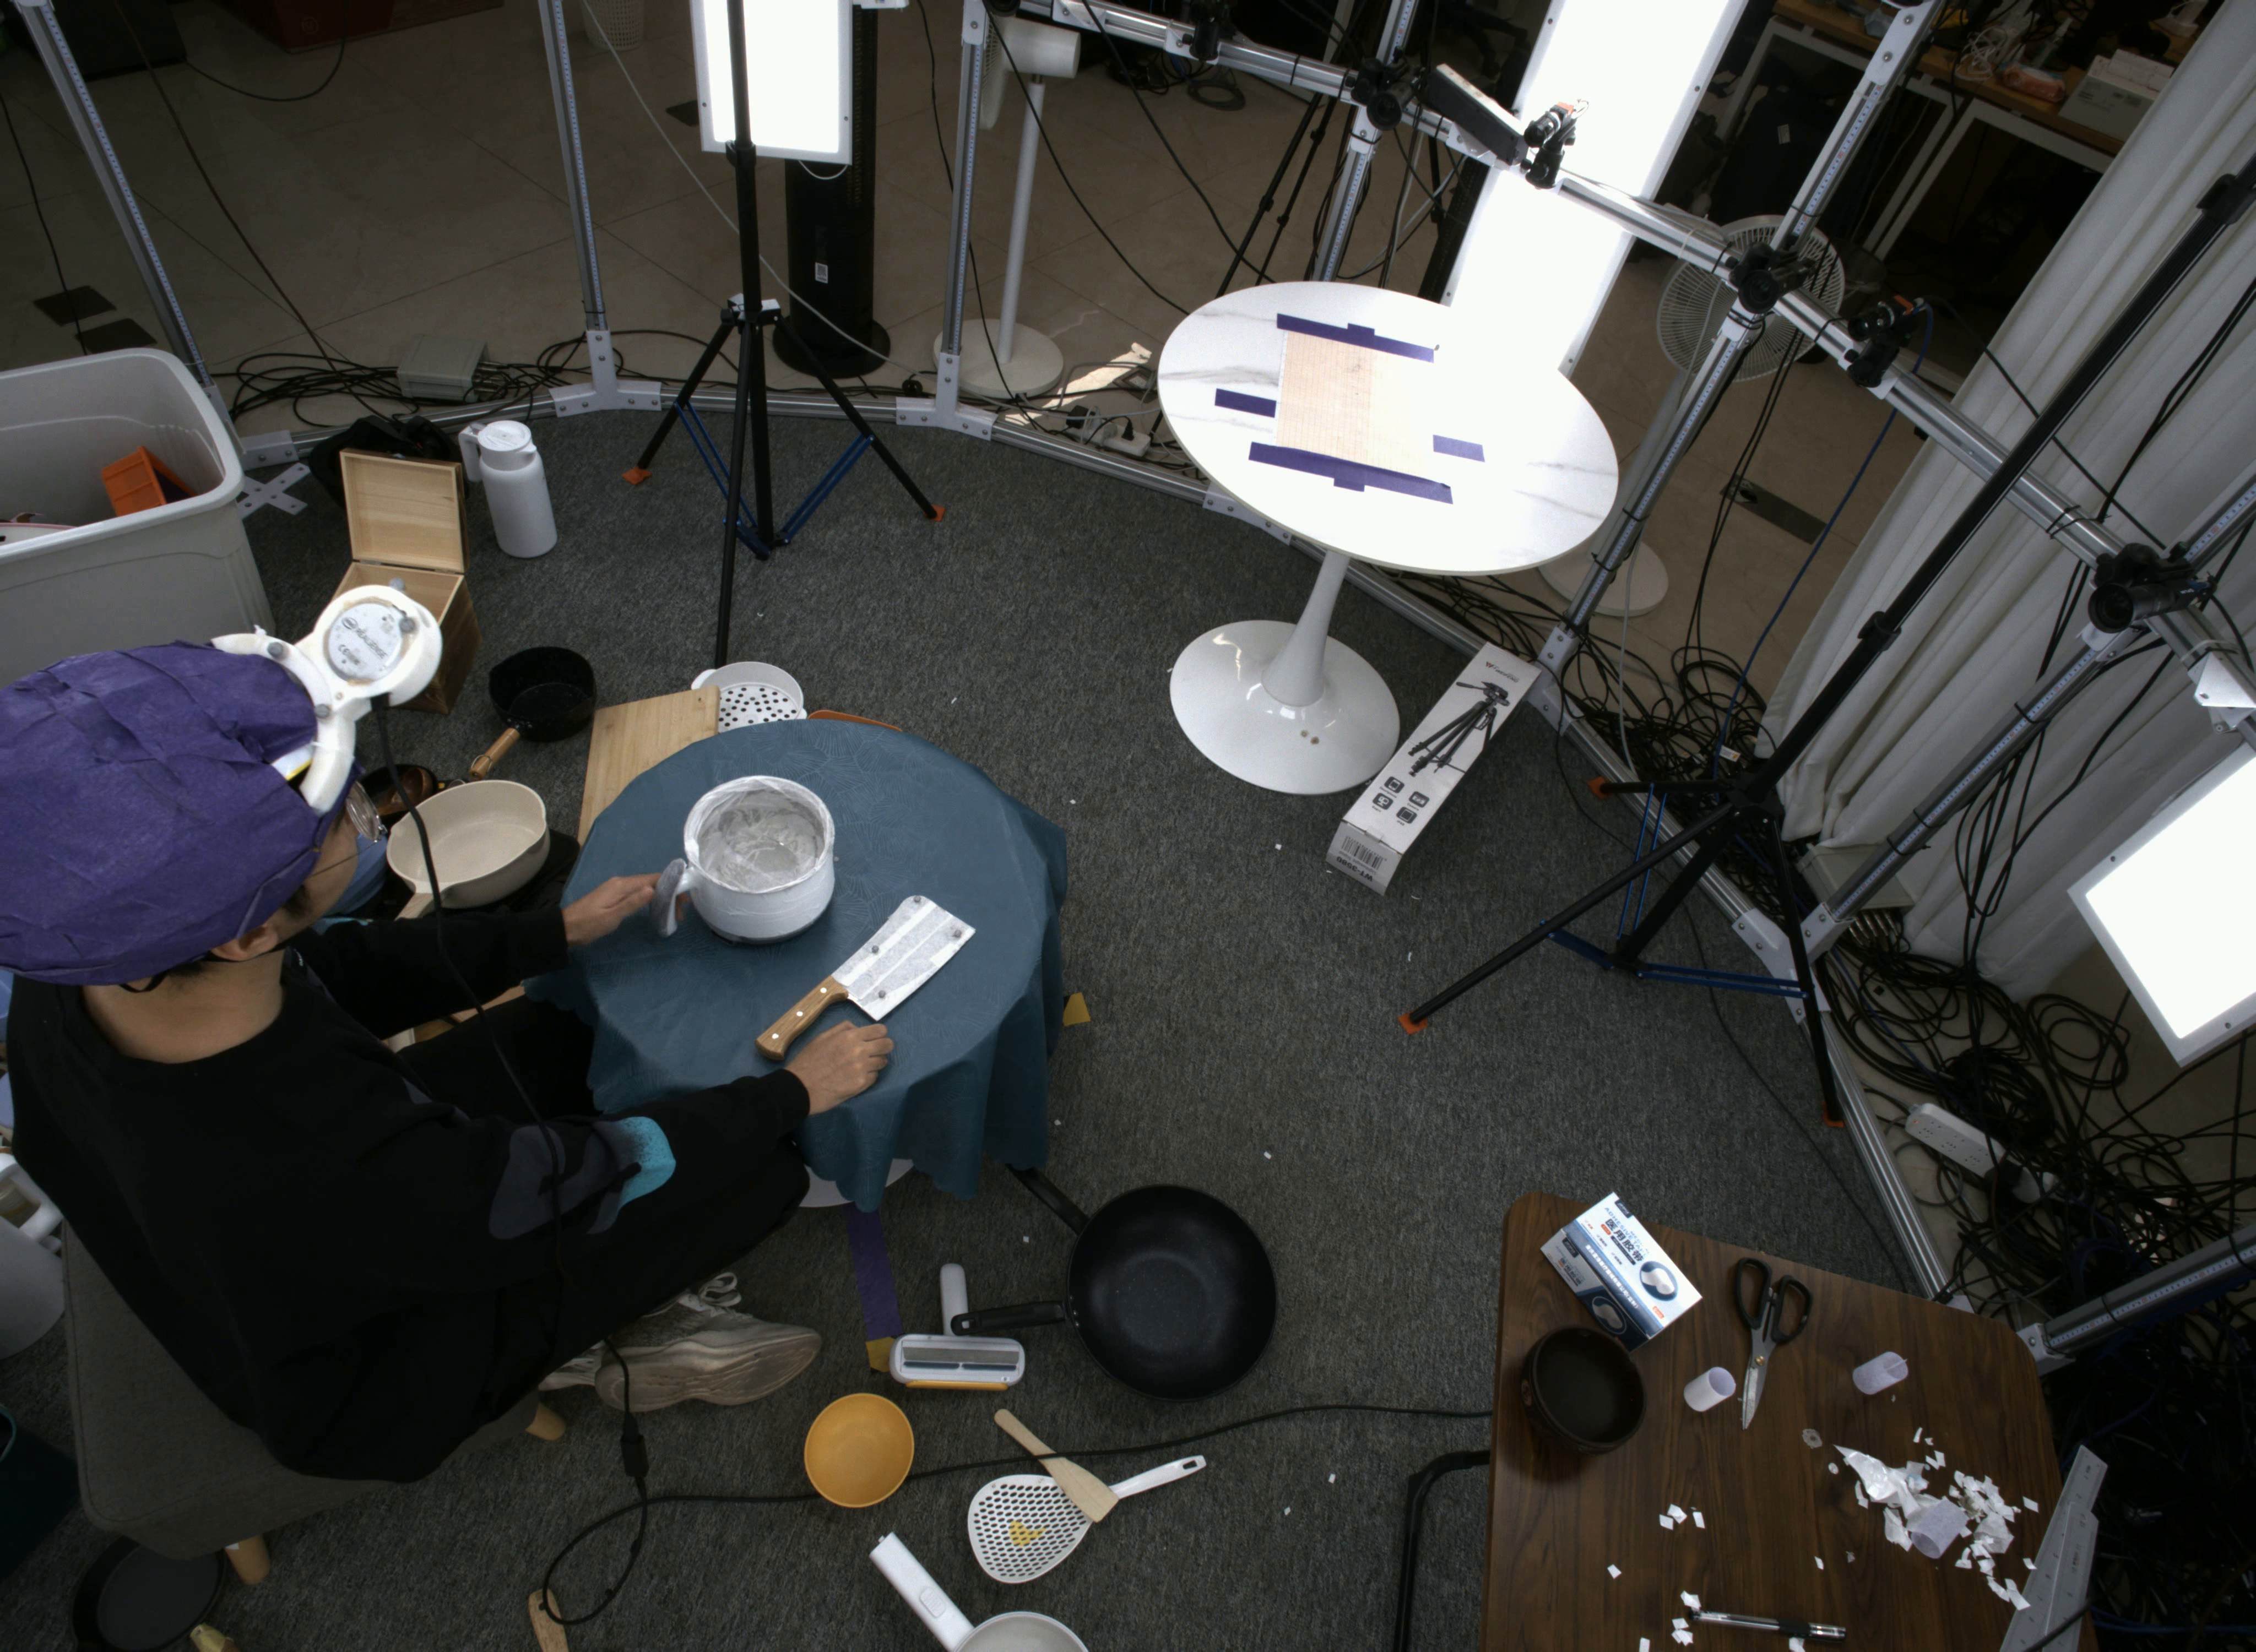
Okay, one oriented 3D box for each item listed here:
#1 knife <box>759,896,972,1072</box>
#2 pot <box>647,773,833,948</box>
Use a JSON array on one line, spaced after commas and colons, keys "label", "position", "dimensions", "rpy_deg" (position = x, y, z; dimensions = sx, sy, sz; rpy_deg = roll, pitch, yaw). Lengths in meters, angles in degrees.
[{"label": "knife", "position": [-0.324, 0.188, 1.588], "dimensions": [0.111, 0.022, 0.315], "rpy_deg": [38, 51, 14]}, {"label": "pot", "position": [-0.473, 0.054, 1.571], "dimensions": [0.235, 0.139, 0.174], "rpy_deg": [-25, 62, -30]}]
